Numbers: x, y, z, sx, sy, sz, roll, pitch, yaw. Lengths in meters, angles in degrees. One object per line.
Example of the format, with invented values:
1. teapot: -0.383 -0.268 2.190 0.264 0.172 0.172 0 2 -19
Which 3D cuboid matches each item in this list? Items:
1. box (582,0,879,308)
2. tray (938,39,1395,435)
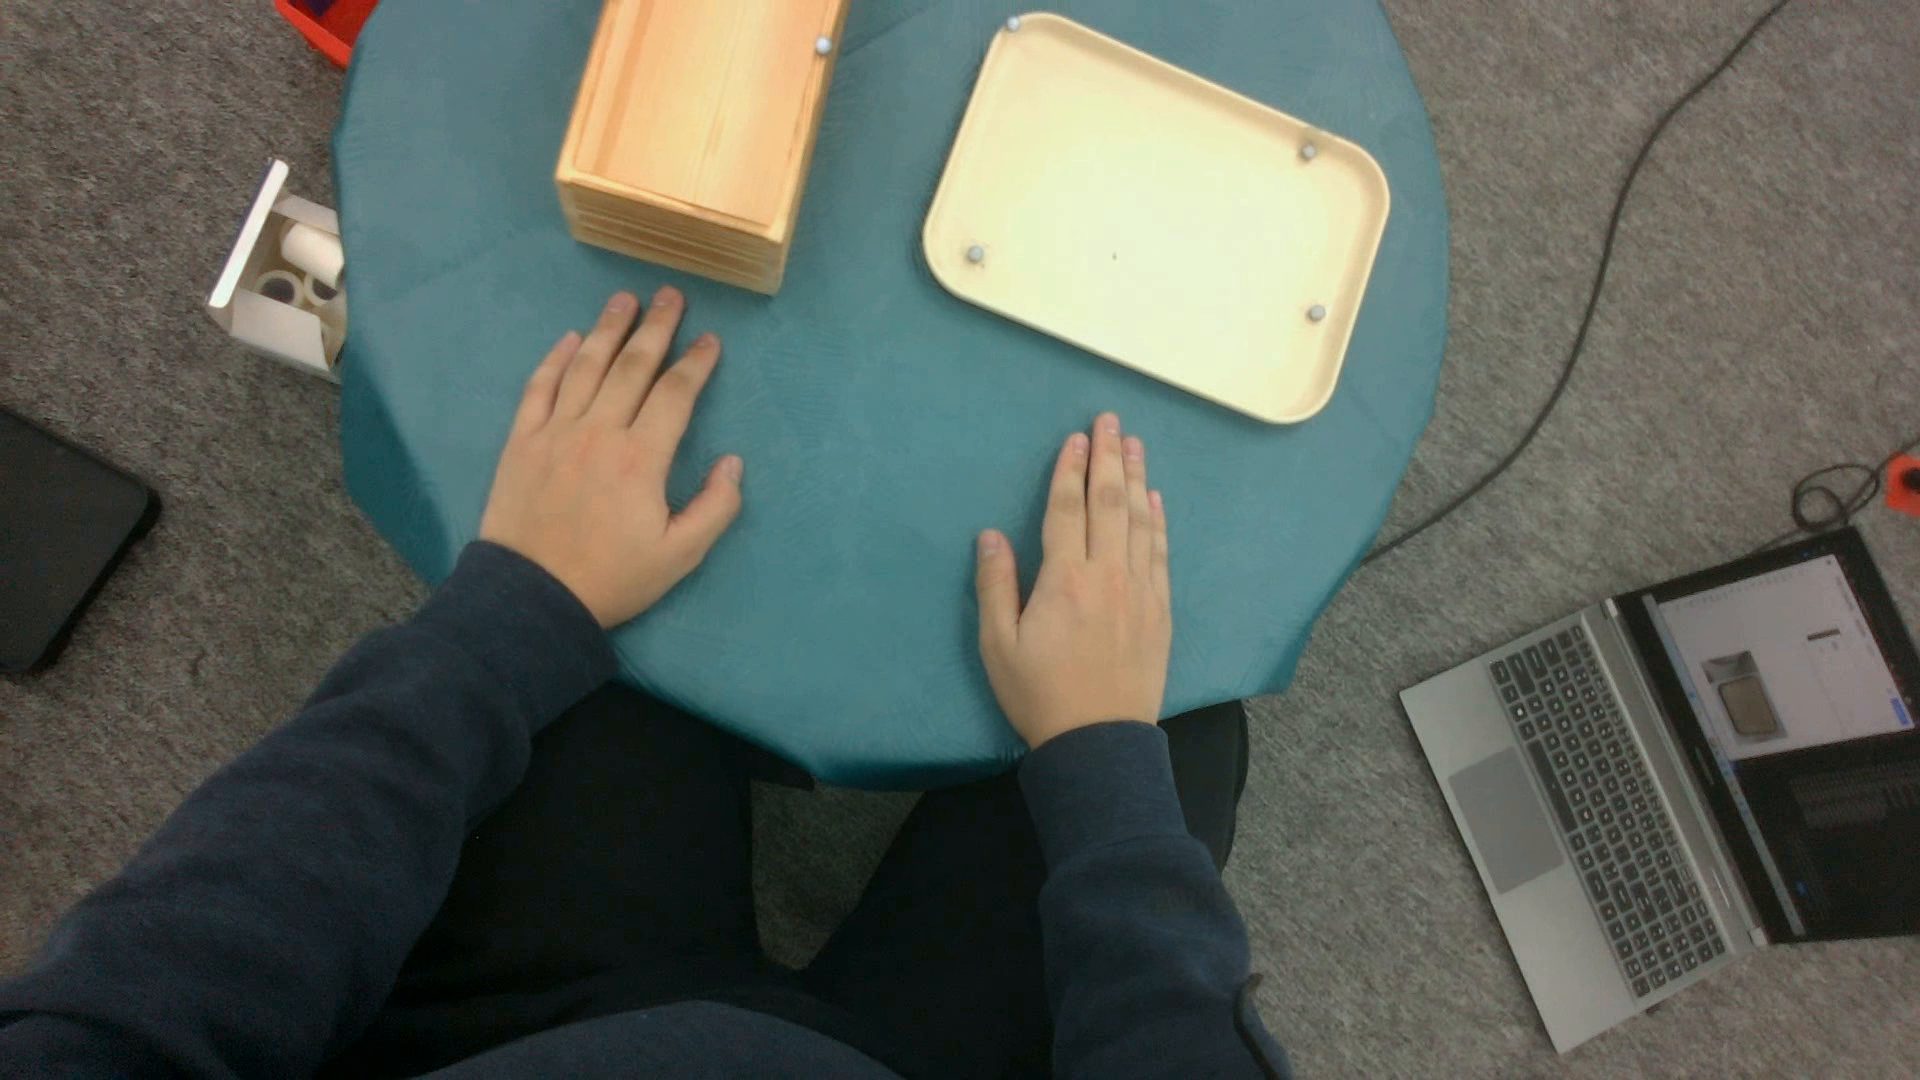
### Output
1. box: -0.110 -0.241 0.712 0.107 0.080 0.212 14 79 -6
2. tray: 0.117 -0.168 0.769 0.240 0.017 0.171 21 78 -6
